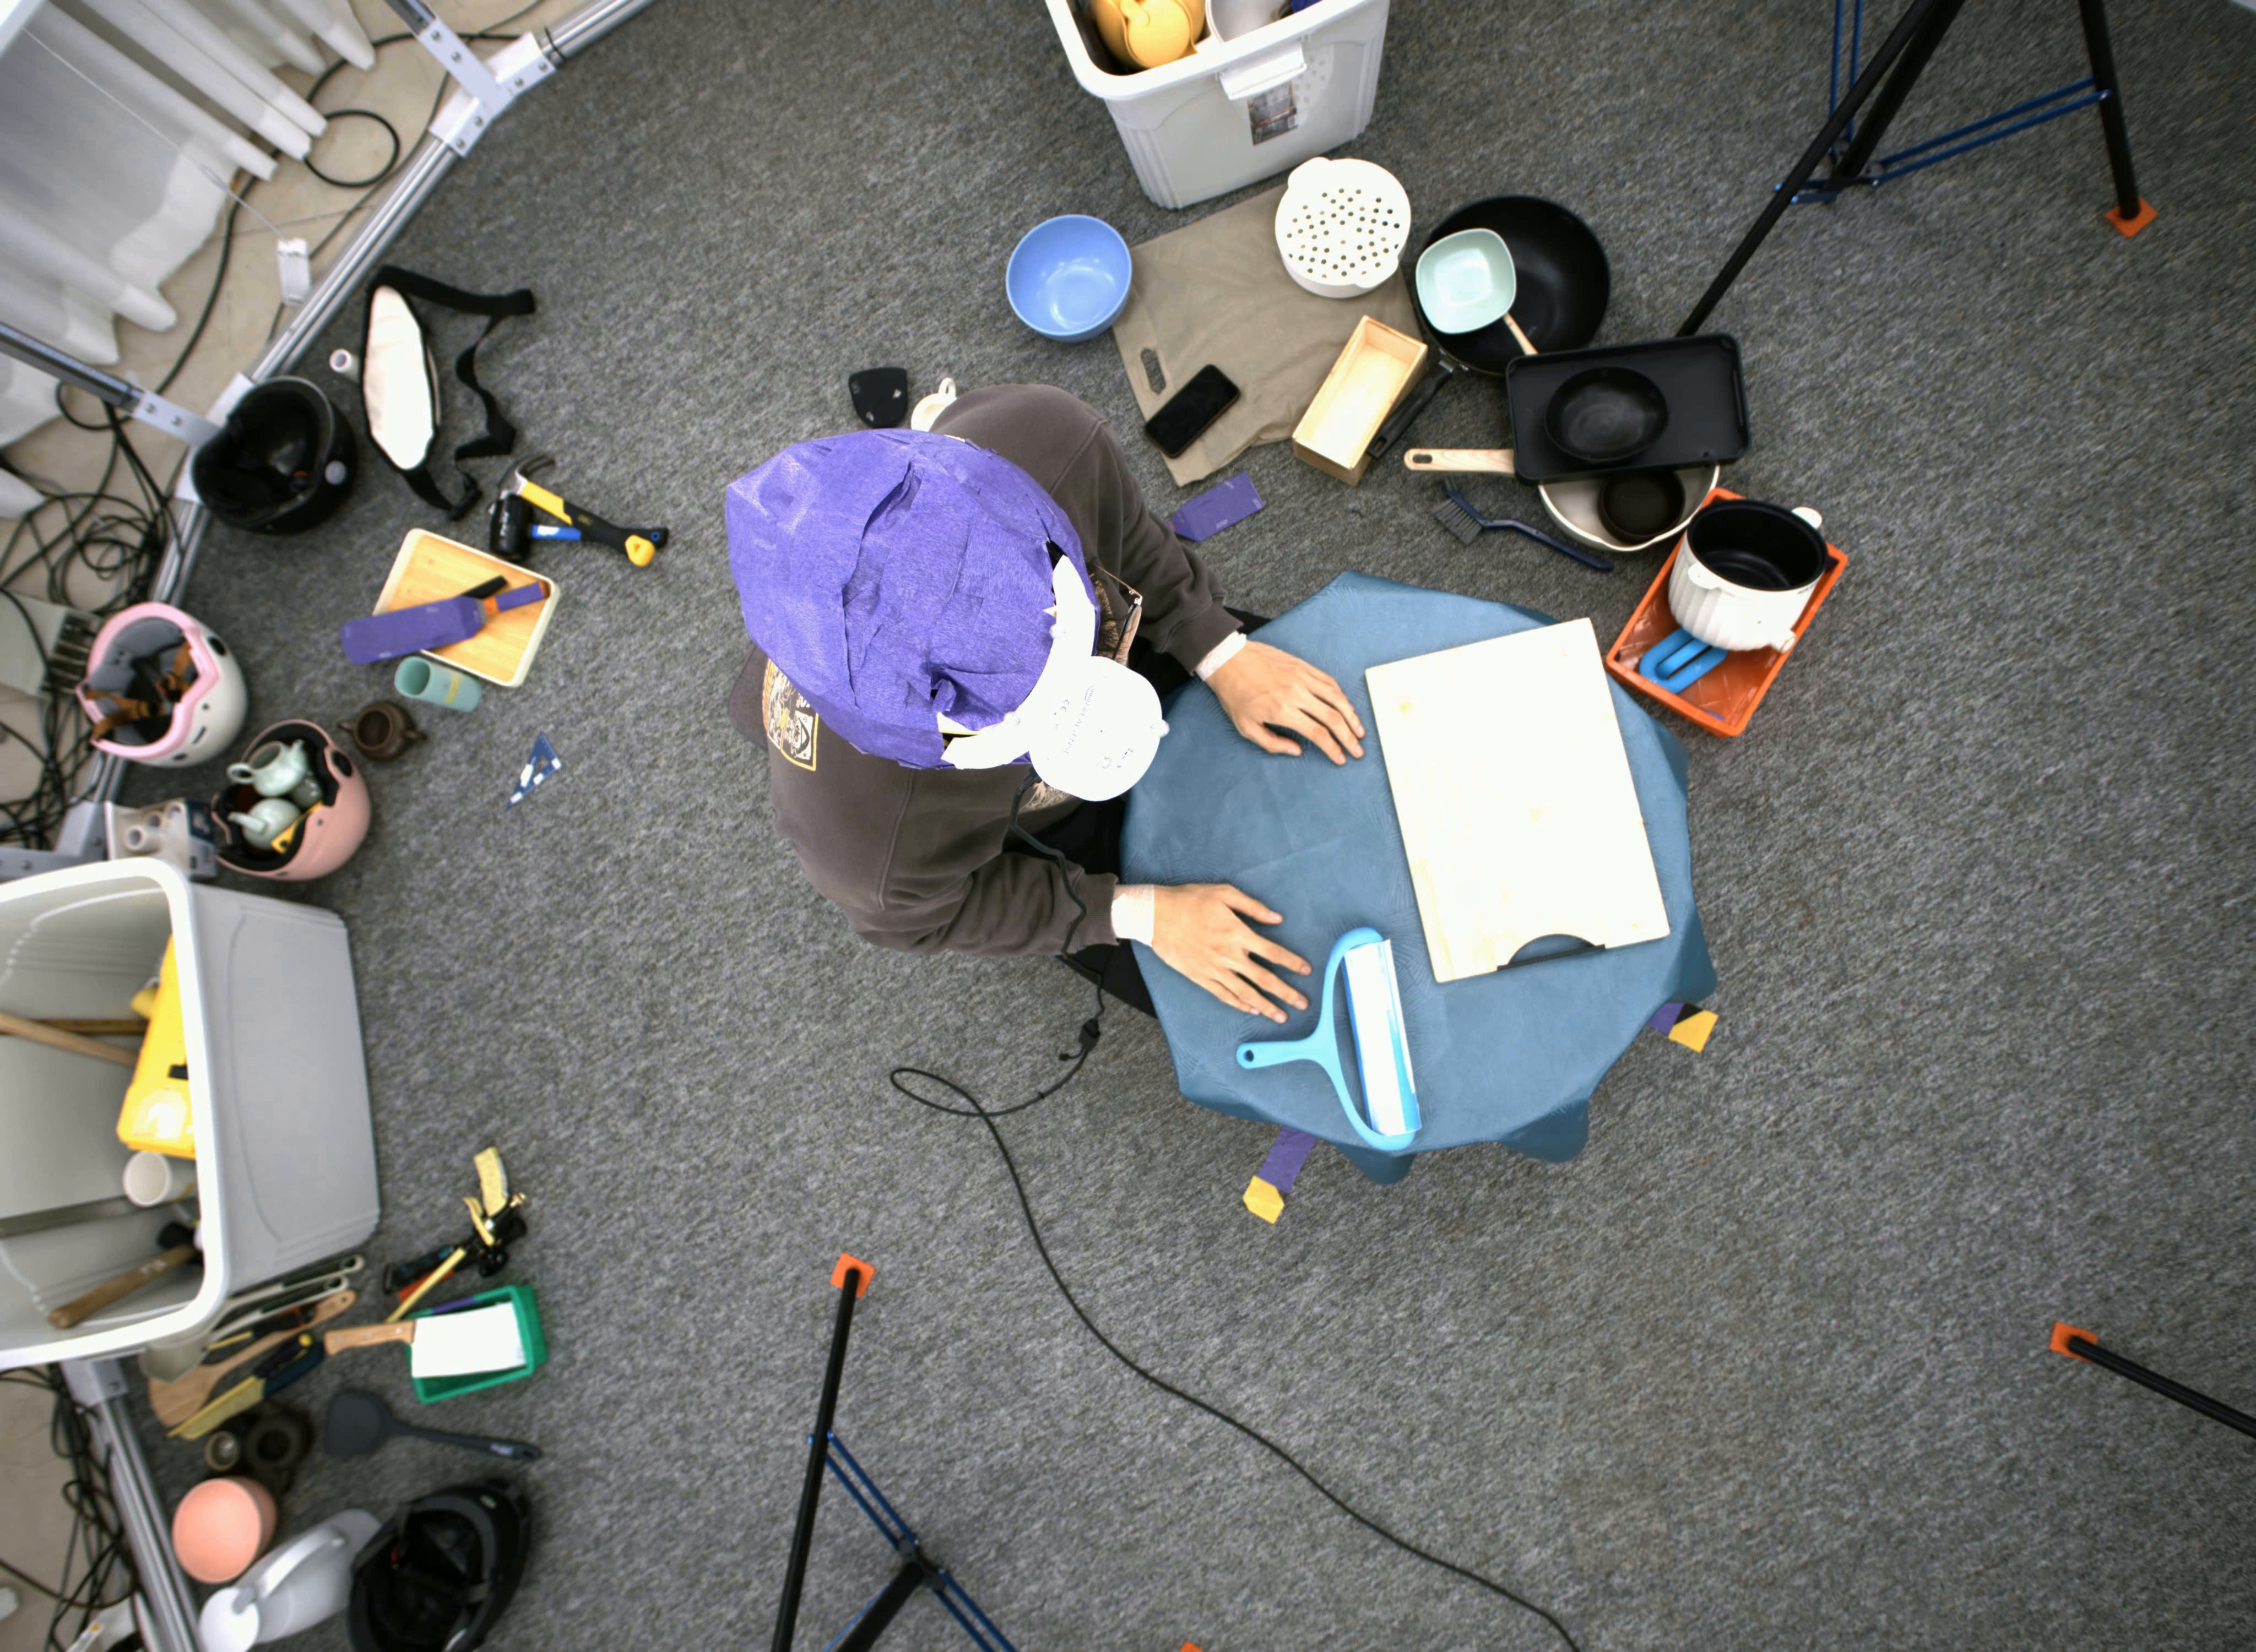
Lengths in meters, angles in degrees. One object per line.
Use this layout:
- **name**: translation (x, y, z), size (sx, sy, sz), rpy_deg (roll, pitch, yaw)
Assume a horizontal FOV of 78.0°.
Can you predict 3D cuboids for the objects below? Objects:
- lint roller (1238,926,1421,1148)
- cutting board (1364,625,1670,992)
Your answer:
- **lint roller**: translation (0.202, 0.227, 1.434), size (0.181, 0.068, 0.228), rpy_deg (-11, 86, 8)
- **cutting board**: translation (0.402, -0.024, 1.430), size (0.252, 0.023, 0.346), rpy_deg (-14, 85, 10)
